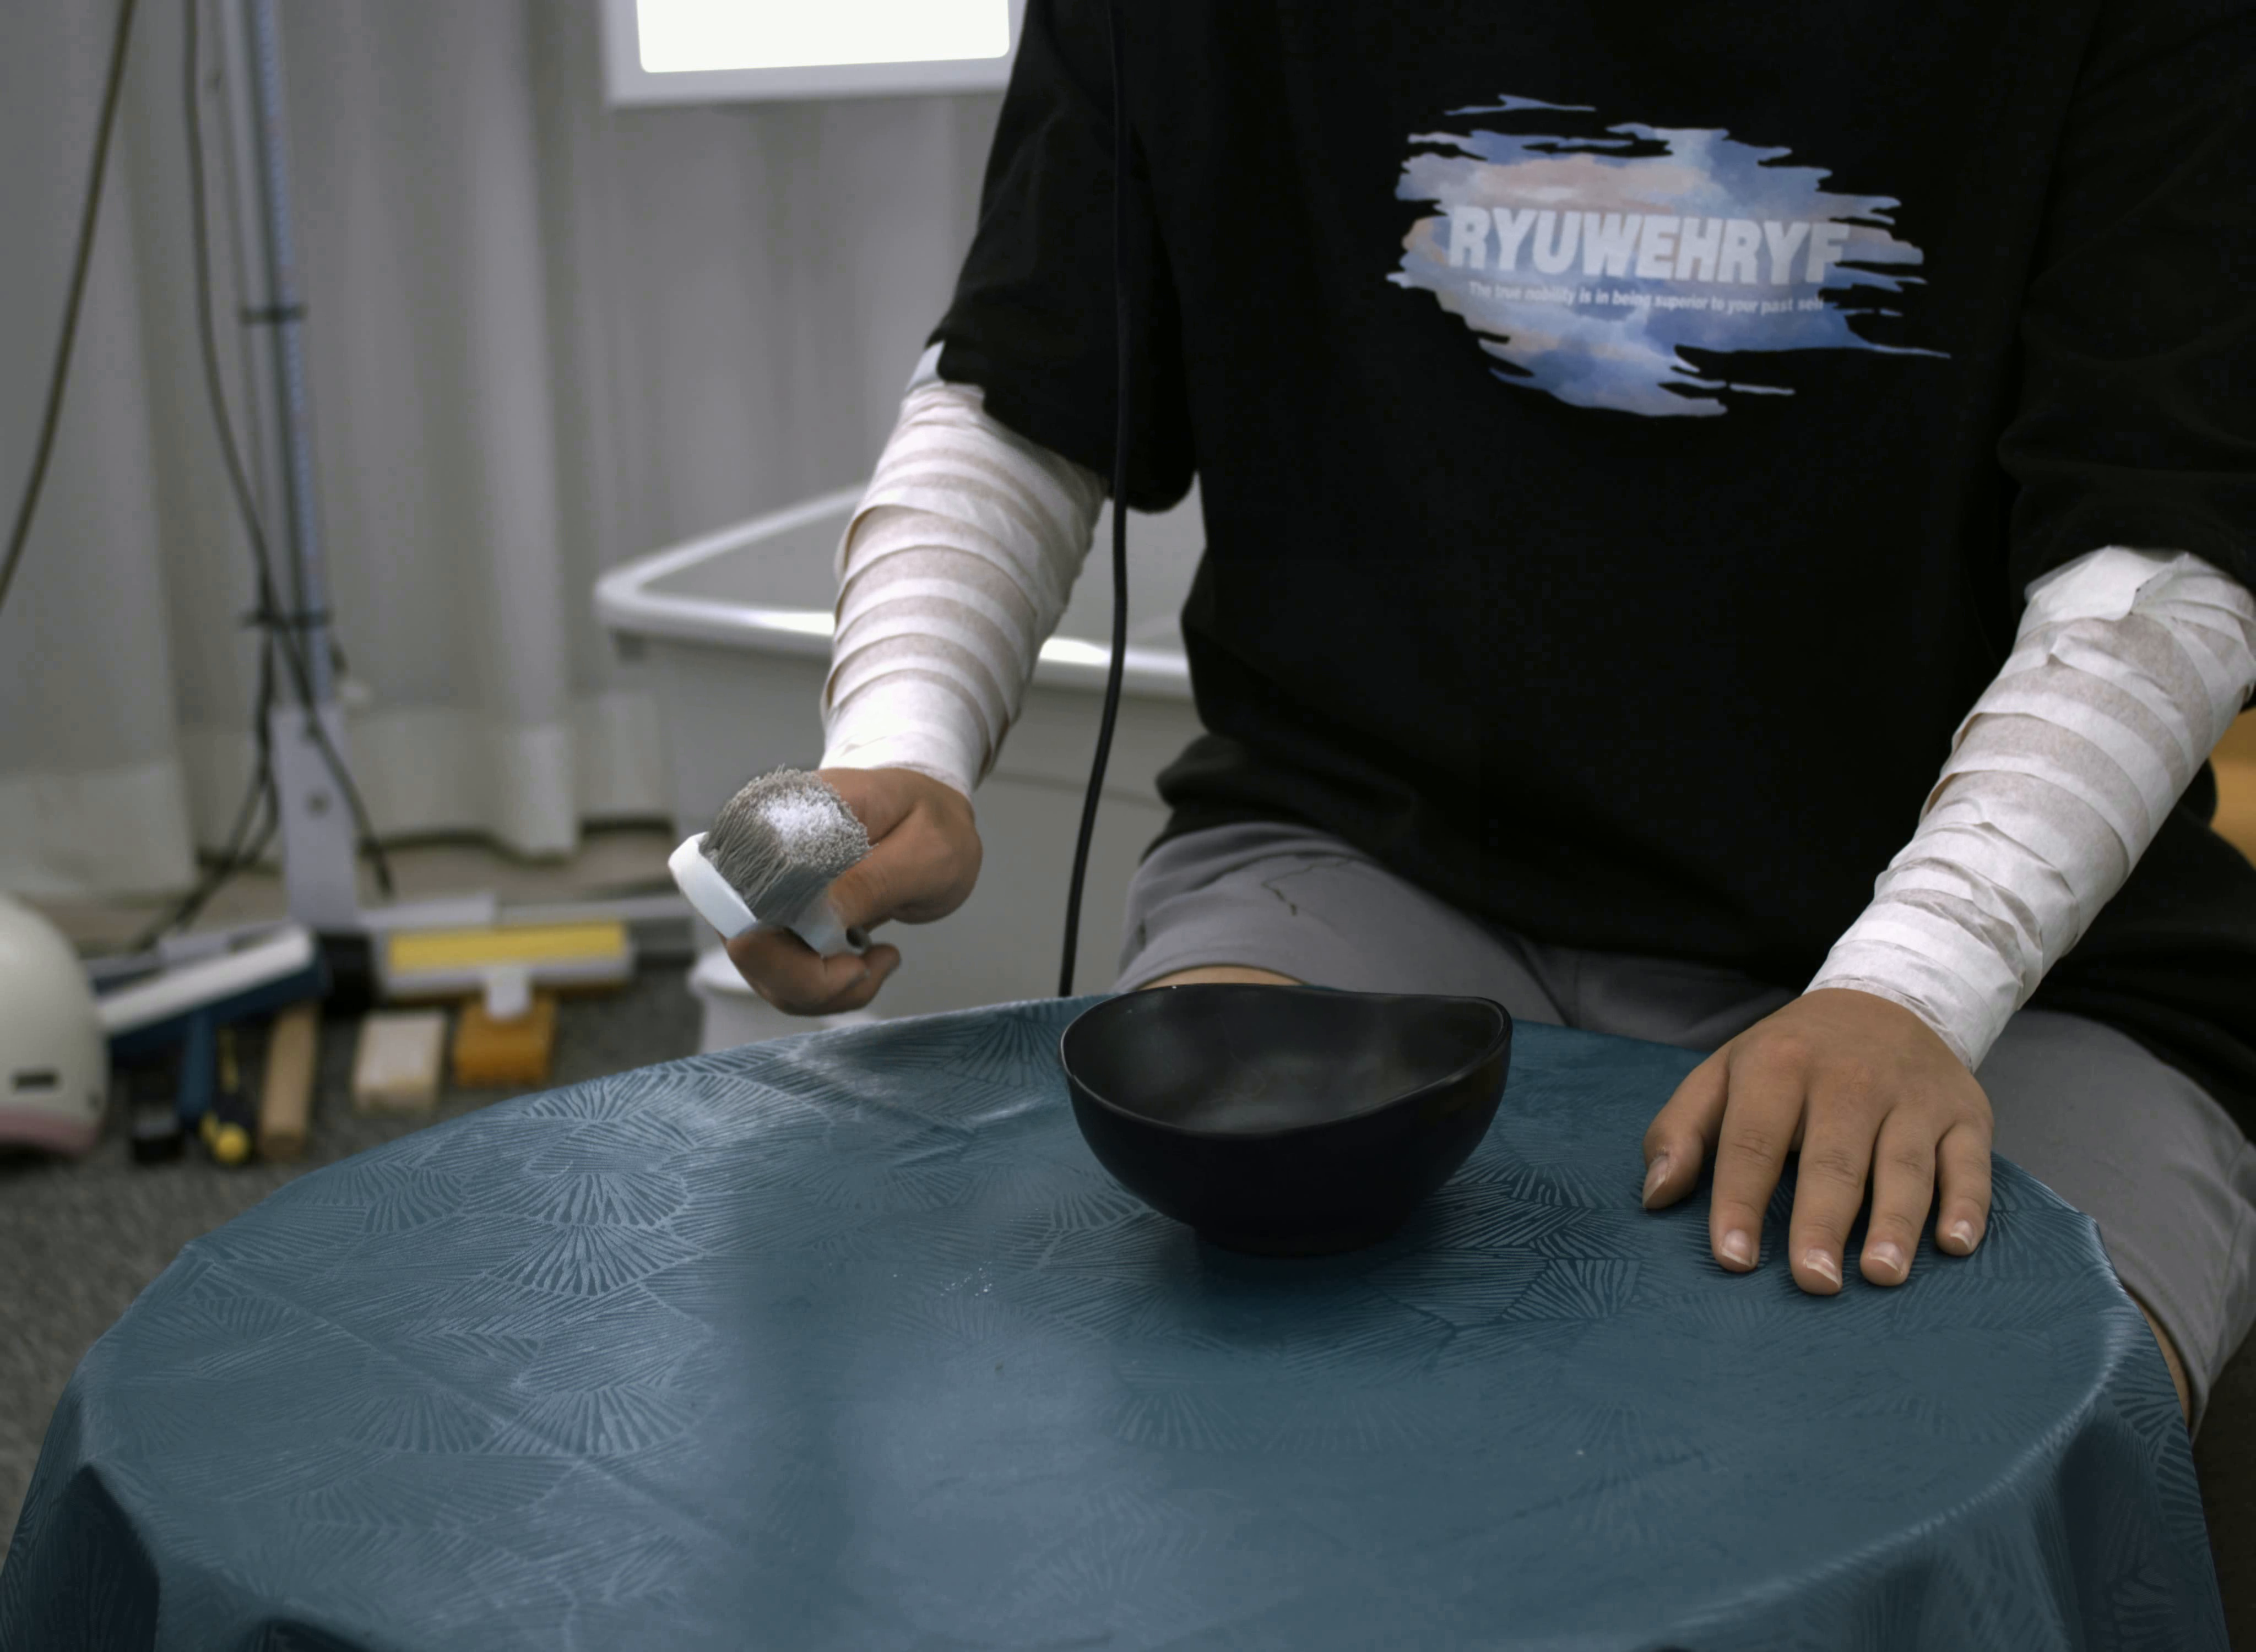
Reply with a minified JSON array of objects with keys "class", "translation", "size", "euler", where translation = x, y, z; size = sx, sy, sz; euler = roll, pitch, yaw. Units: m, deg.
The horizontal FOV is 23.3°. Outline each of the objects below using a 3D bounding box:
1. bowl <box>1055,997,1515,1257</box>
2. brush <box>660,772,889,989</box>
[{"class":"bowl","translation":[0.050,0.092,1.667],"size":[0.137,0.066,0.171],"euler":[2,13,18]},{"class":"brush","translation":[-0.096,0.019,1.752],"size":[0.050,0.034,0.242],"euler":[-41,-12,3]}]
